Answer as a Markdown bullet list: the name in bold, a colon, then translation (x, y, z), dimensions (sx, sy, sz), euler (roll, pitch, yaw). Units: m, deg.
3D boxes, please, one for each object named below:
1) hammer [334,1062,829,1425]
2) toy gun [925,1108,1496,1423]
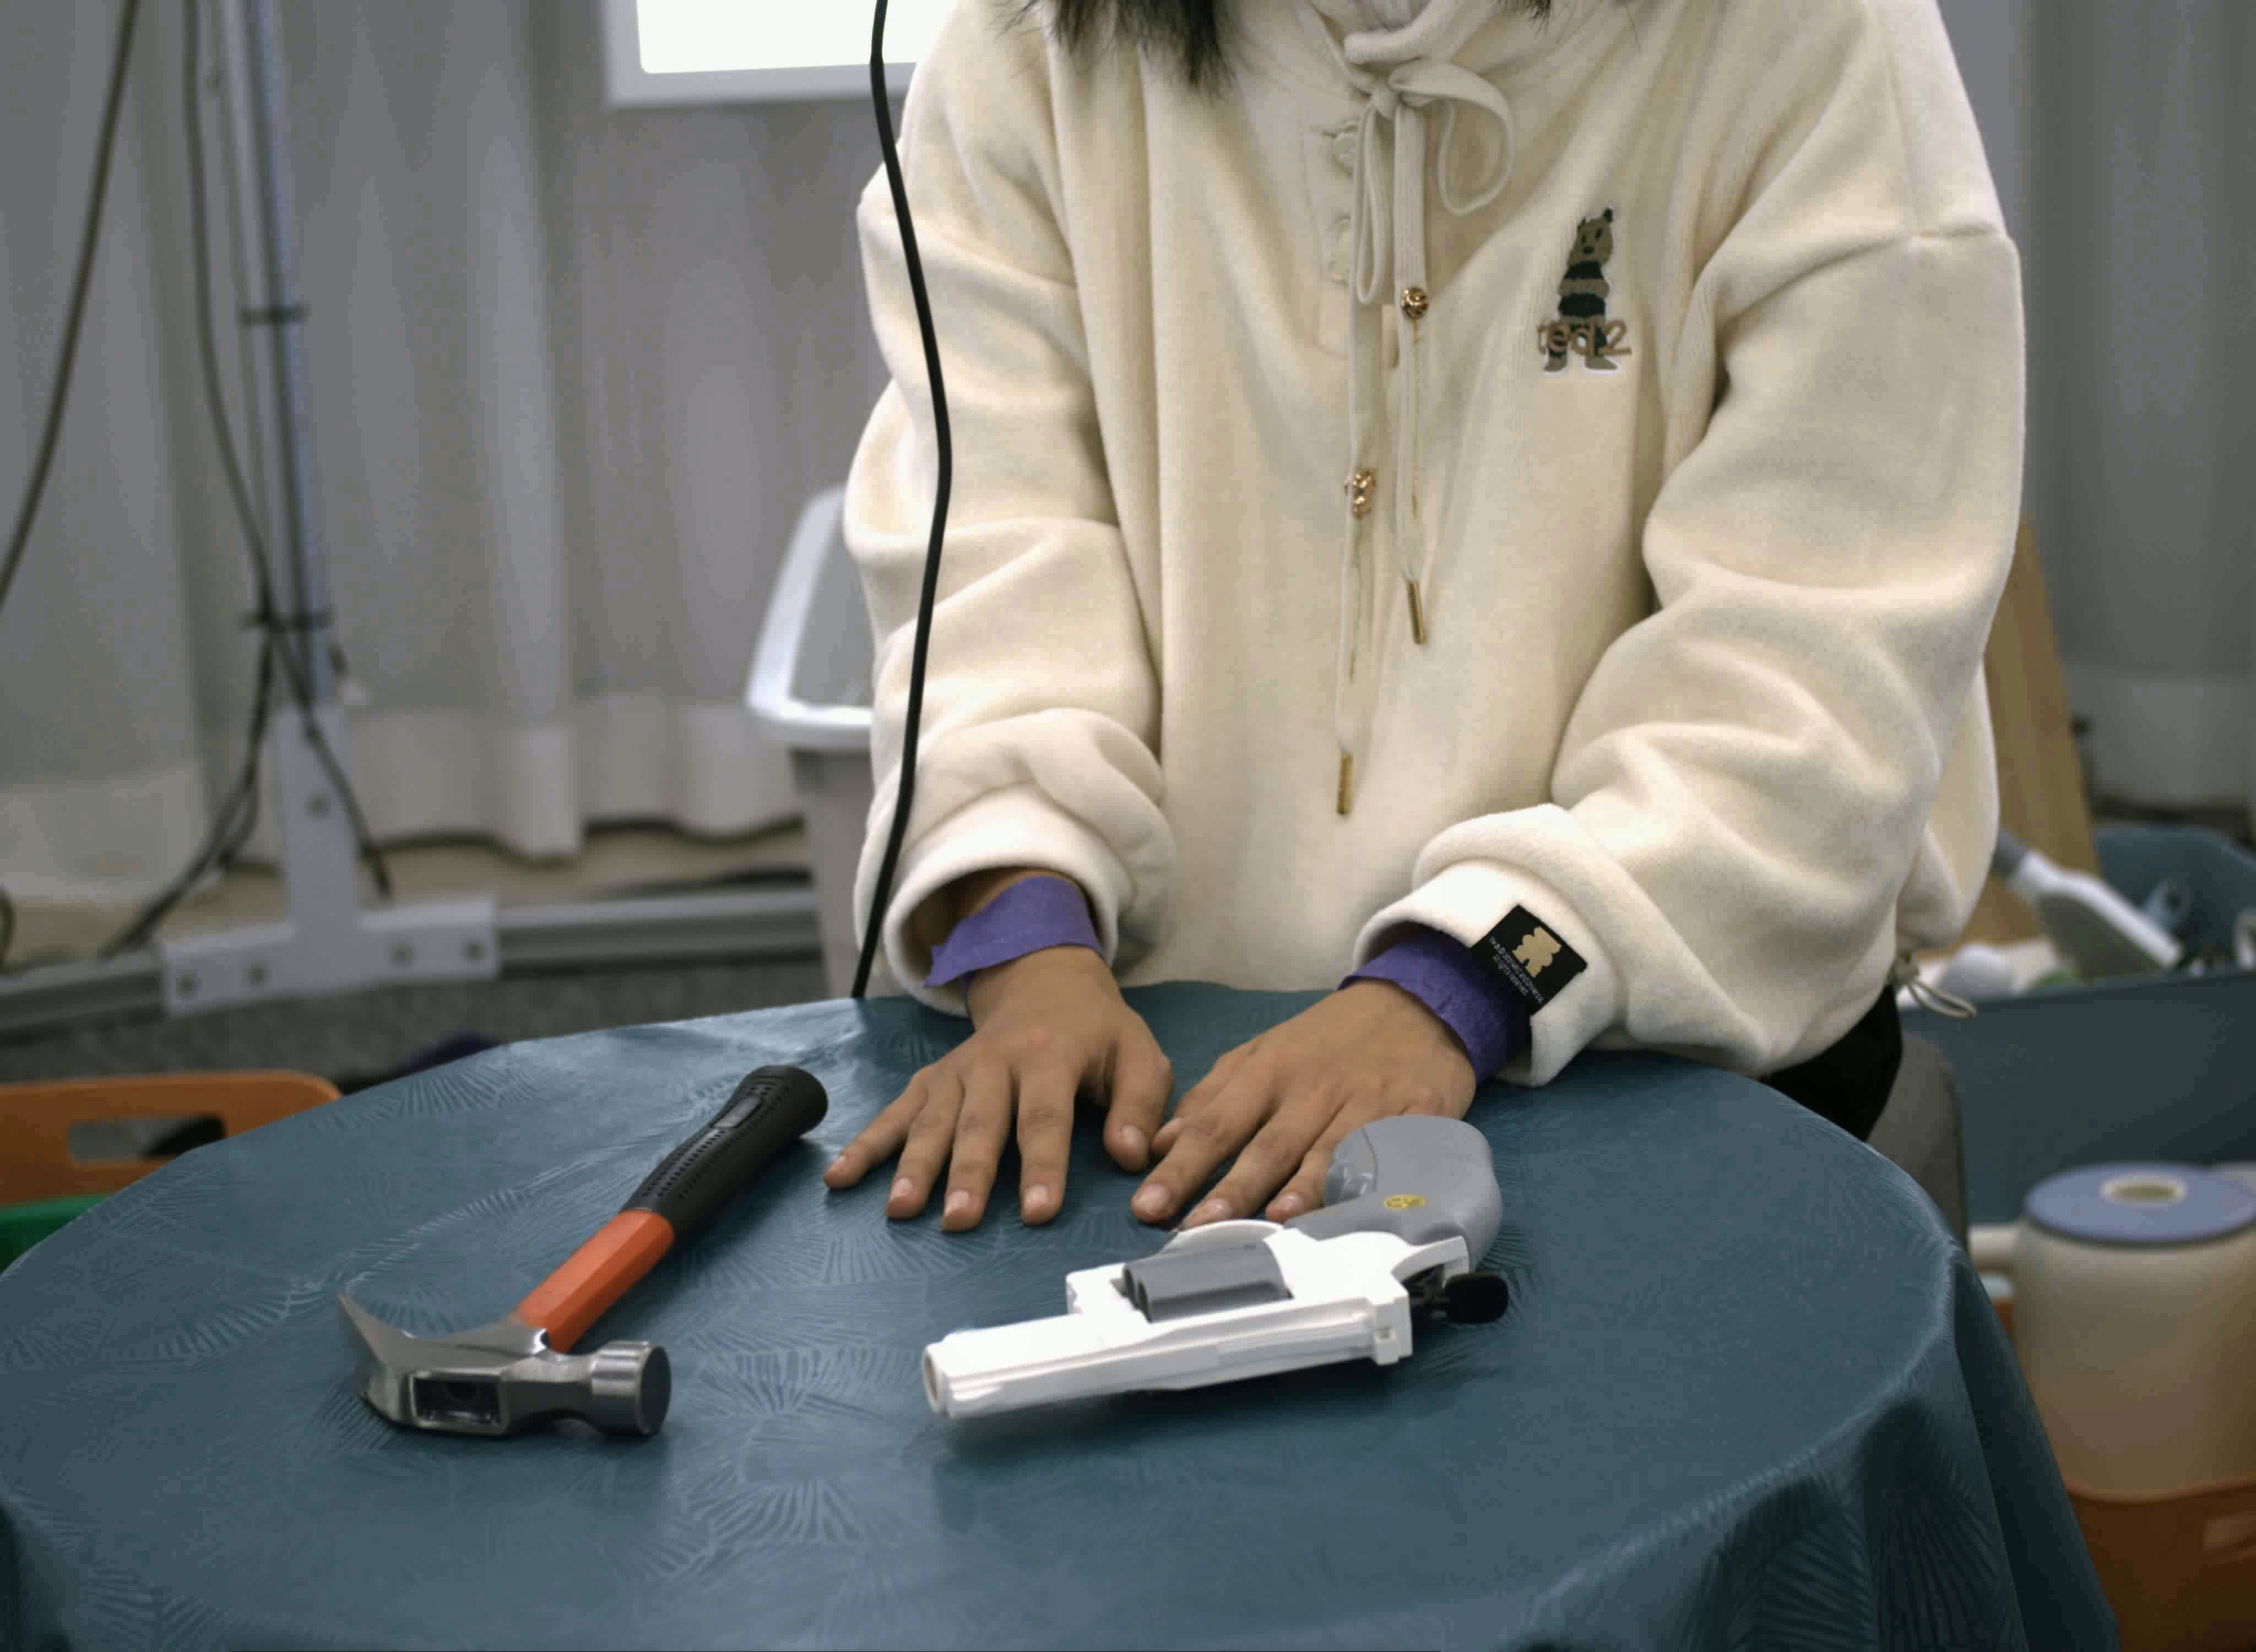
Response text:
- **hammer**: translation (-0.151, 0.123, 1.658), dimensions (0.110, 0.026, 0.278), euler (-8, 12, 18)
- **toy gun**: translation (0.029, 0.129, 1.580), dimensions (0.208, 0.038, 0.143), euler (-8, 17, -18)
